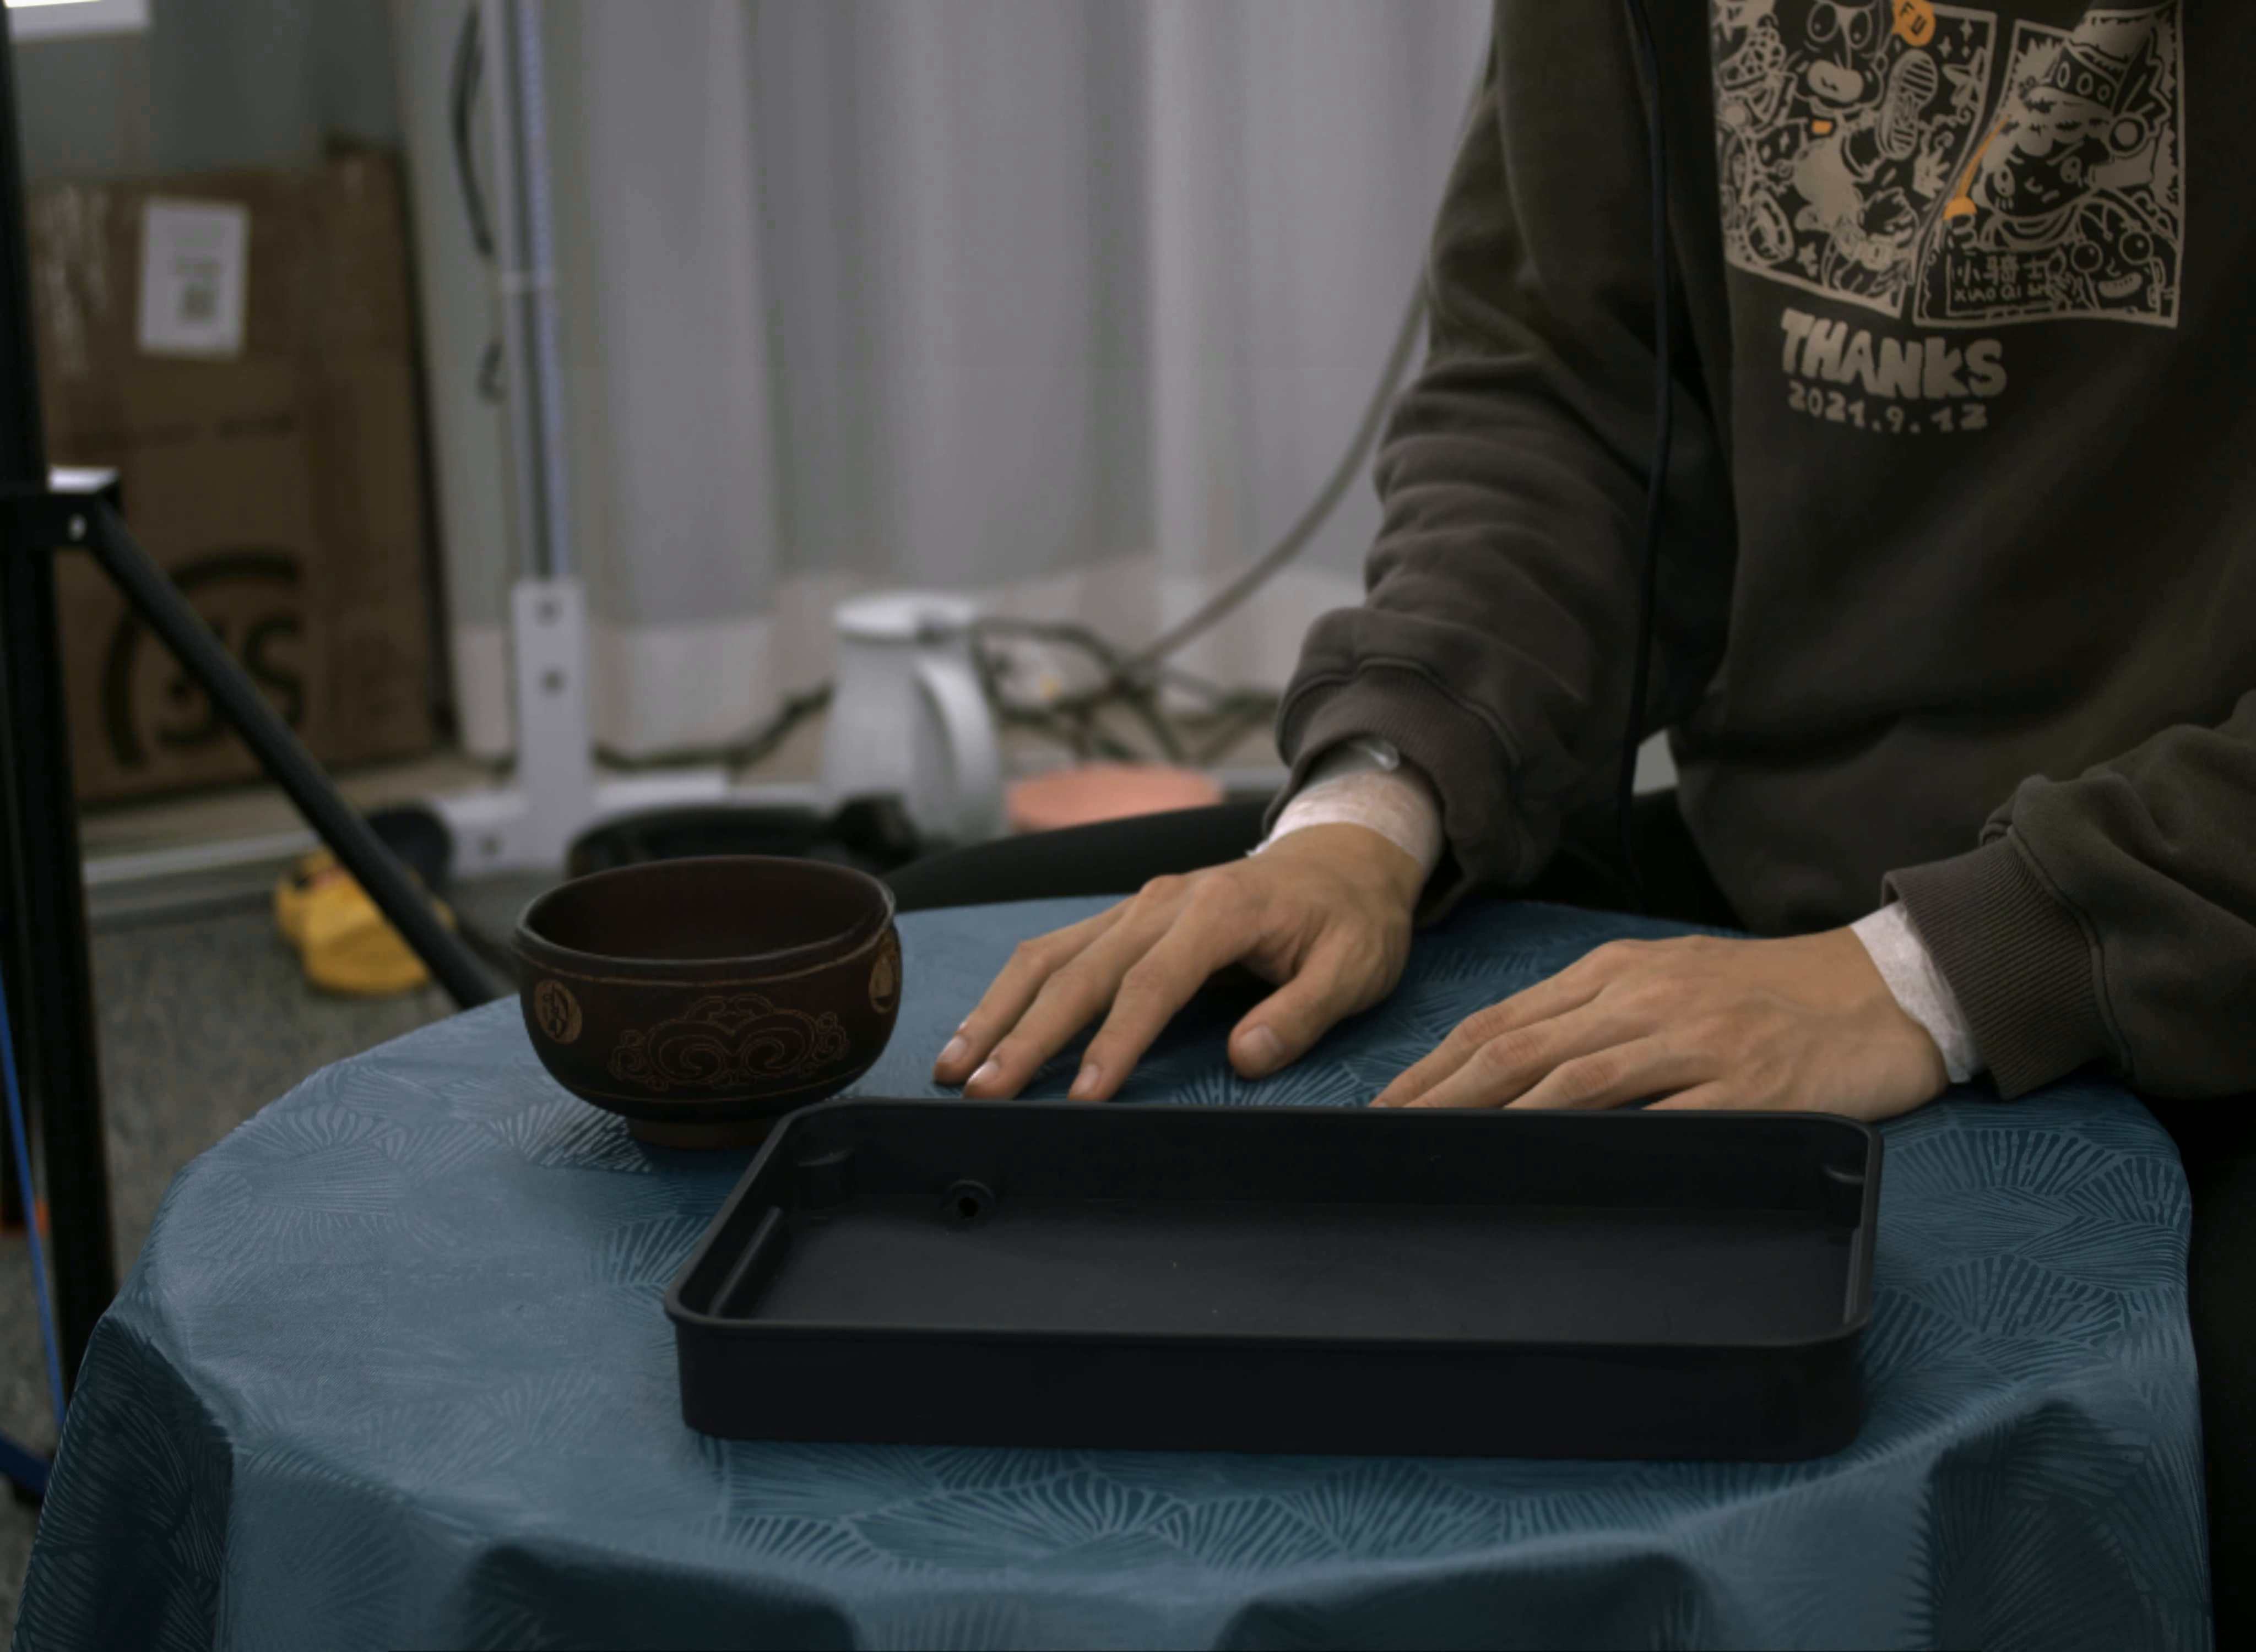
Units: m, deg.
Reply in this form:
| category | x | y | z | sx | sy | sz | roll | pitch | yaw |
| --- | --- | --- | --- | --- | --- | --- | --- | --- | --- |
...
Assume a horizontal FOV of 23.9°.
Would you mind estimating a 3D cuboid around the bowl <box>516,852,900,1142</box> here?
| category | x | y | z | sx | sy | sz | roll | pitch | yaw |
| --- | --- | --- | --- | --- | --- | --- | --- | --- | --- |
| bowl | -0.128 | 0.056 | 1.637 | 0.117 | 0.070 | 0.118 | -2 | 14 | -1 |

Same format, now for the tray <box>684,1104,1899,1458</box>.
| category | x | y | z | sx | sy | sz | roll | pitch | yaw |
| --- | --- | --- | --- | --- | --- | --- | --- | --- | --- |
| tray | 0.050 | 0.121 | 1.443 | 0.319 | 0.037 | 0.184 | -1 | 15 | 9 |
